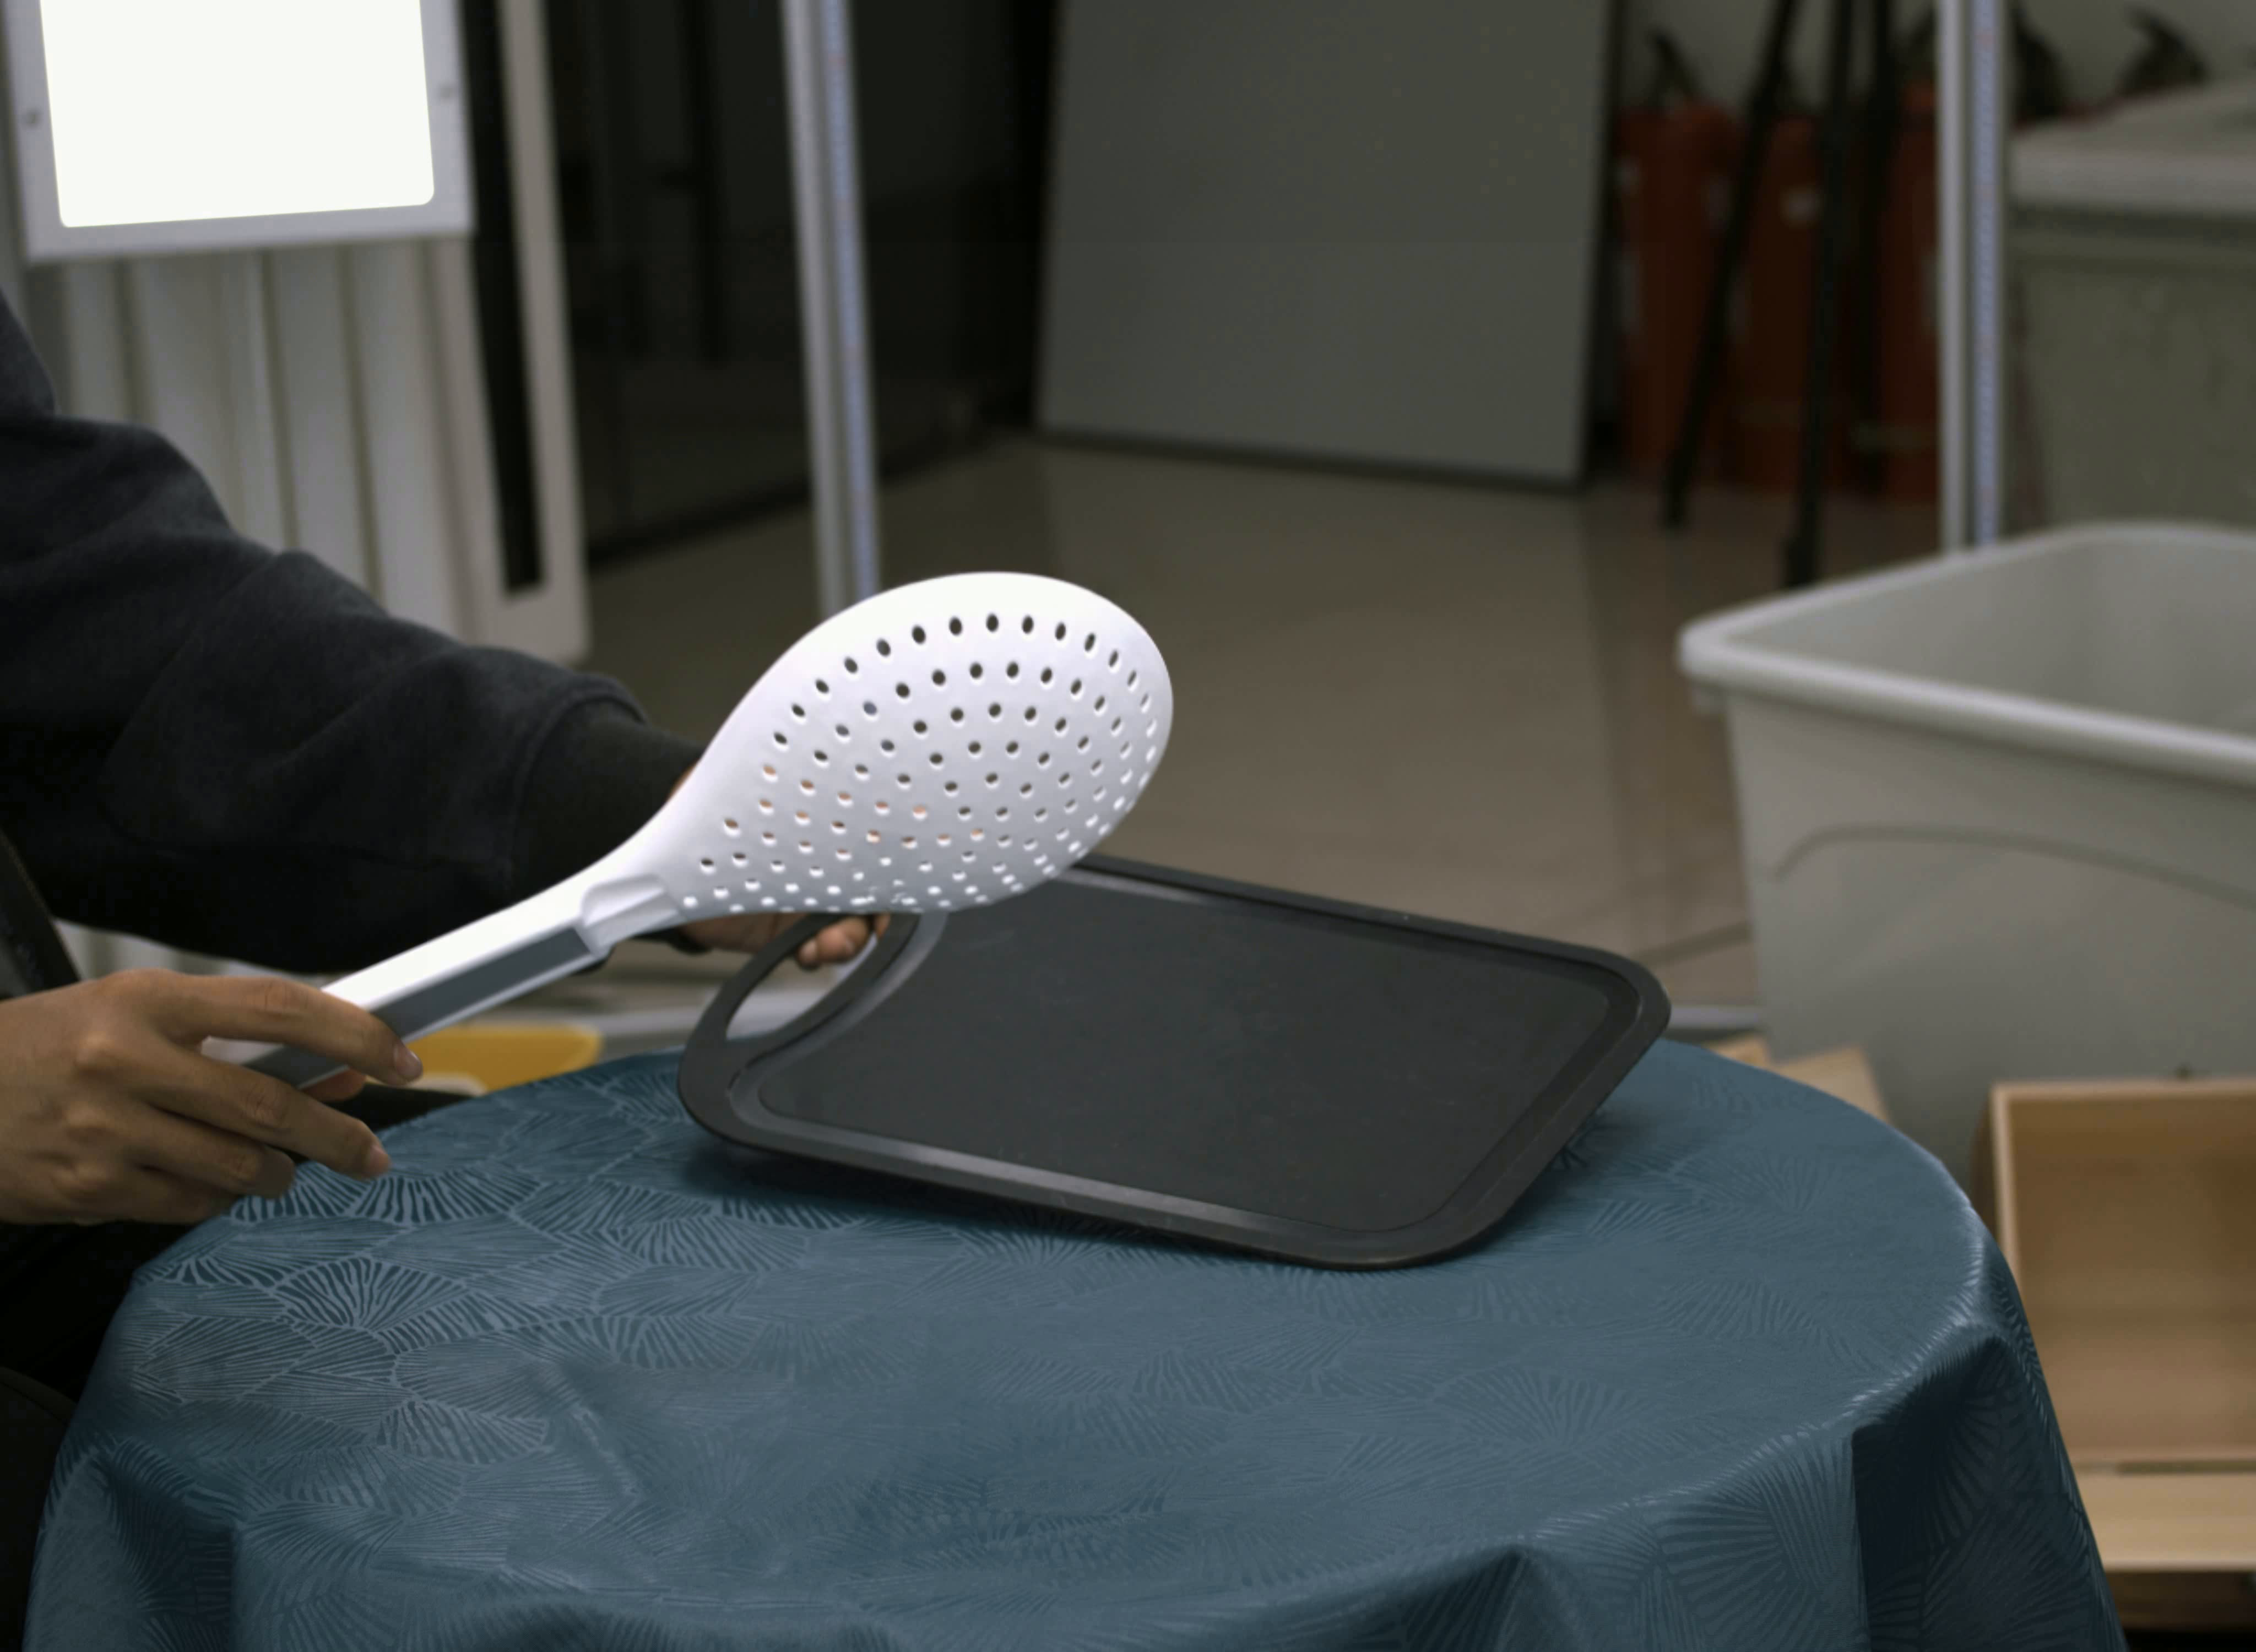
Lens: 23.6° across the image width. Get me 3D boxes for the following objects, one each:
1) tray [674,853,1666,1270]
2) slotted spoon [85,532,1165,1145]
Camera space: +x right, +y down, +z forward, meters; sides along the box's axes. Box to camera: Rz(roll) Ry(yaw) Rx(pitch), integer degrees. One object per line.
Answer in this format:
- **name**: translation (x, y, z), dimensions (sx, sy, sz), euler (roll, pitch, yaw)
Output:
- **tray**: translation (0.006, 0.072, 1.812), dimensions (0.327, 0.010, 0.208), euler (10, 32, 30)
- **slotted spoon**: translation (-0.150, 0.015, 1.603), dimensions (0.348, 0.135, 0.046), euler (-20, 45, 10)
